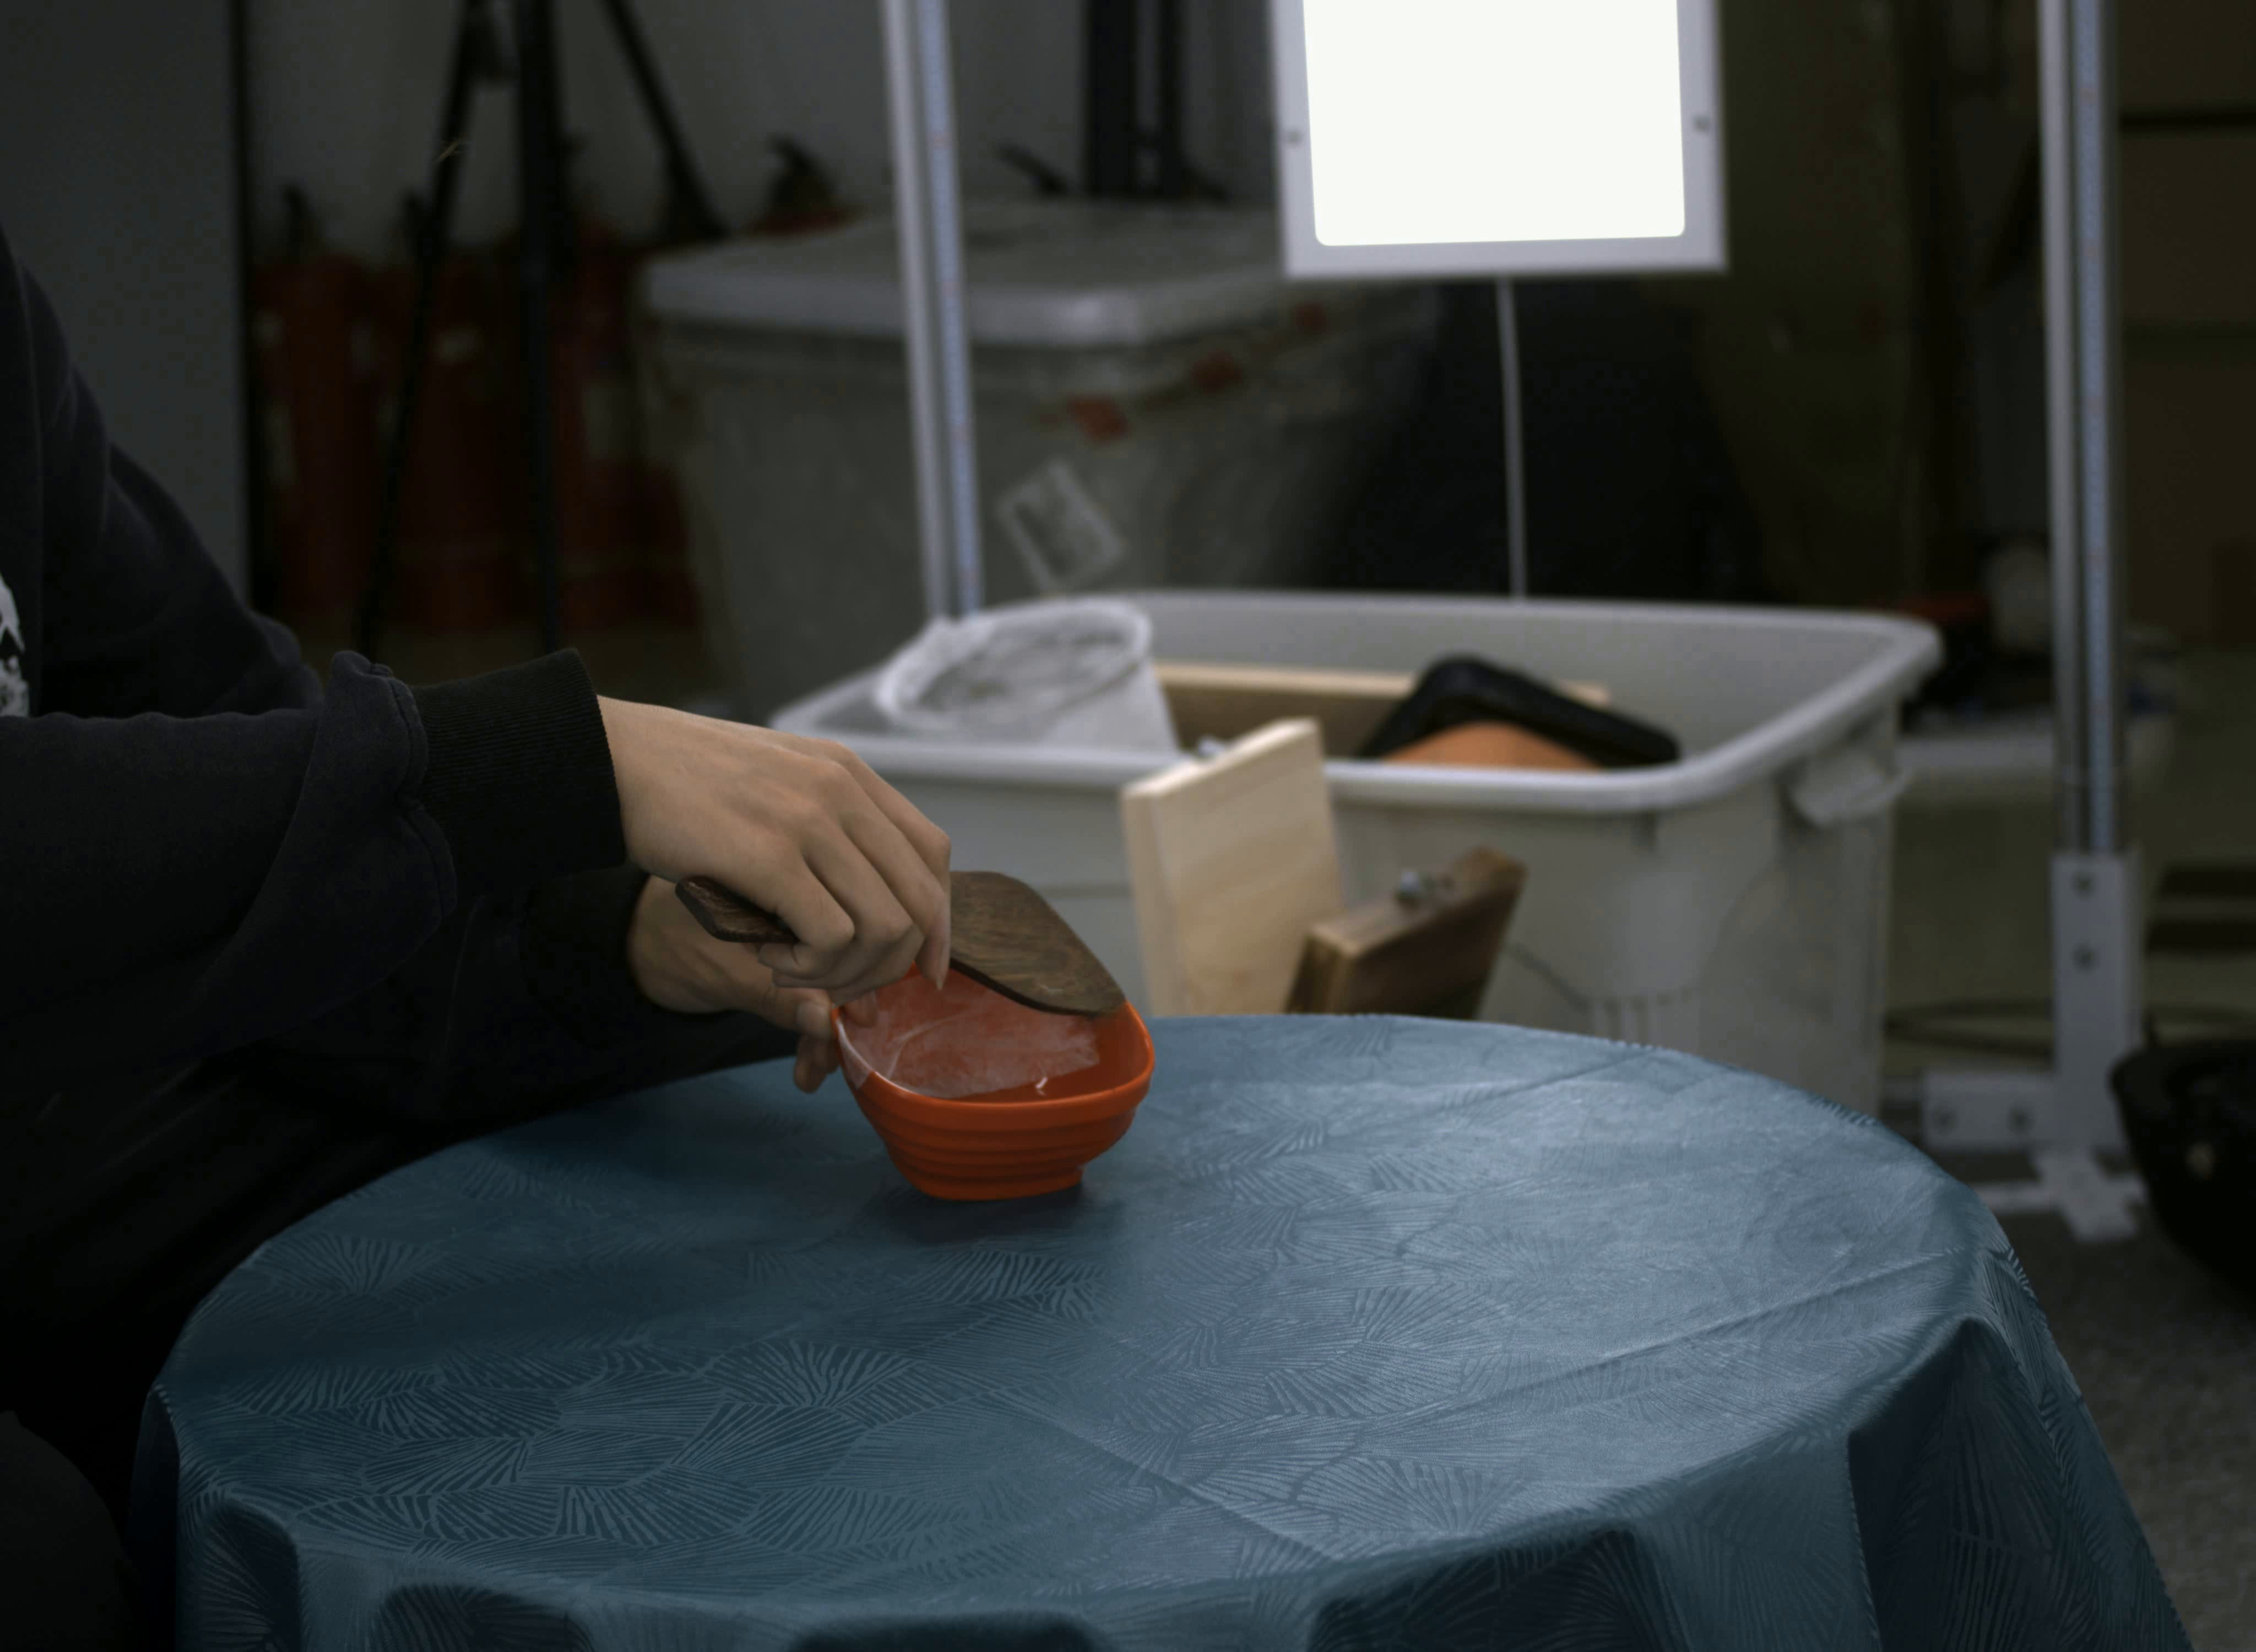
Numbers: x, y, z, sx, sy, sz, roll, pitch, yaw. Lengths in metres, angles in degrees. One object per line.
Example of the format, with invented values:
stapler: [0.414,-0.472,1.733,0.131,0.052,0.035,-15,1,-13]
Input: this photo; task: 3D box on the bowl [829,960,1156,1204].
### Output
bowl: [-0.049,0.092,1.917,0.118,0.052,0.118,4,27,-3]

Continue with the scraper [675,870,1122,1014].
scraper: [-0.081,0.034,1.863,0.076,0.011,0.206,47,21,30]
